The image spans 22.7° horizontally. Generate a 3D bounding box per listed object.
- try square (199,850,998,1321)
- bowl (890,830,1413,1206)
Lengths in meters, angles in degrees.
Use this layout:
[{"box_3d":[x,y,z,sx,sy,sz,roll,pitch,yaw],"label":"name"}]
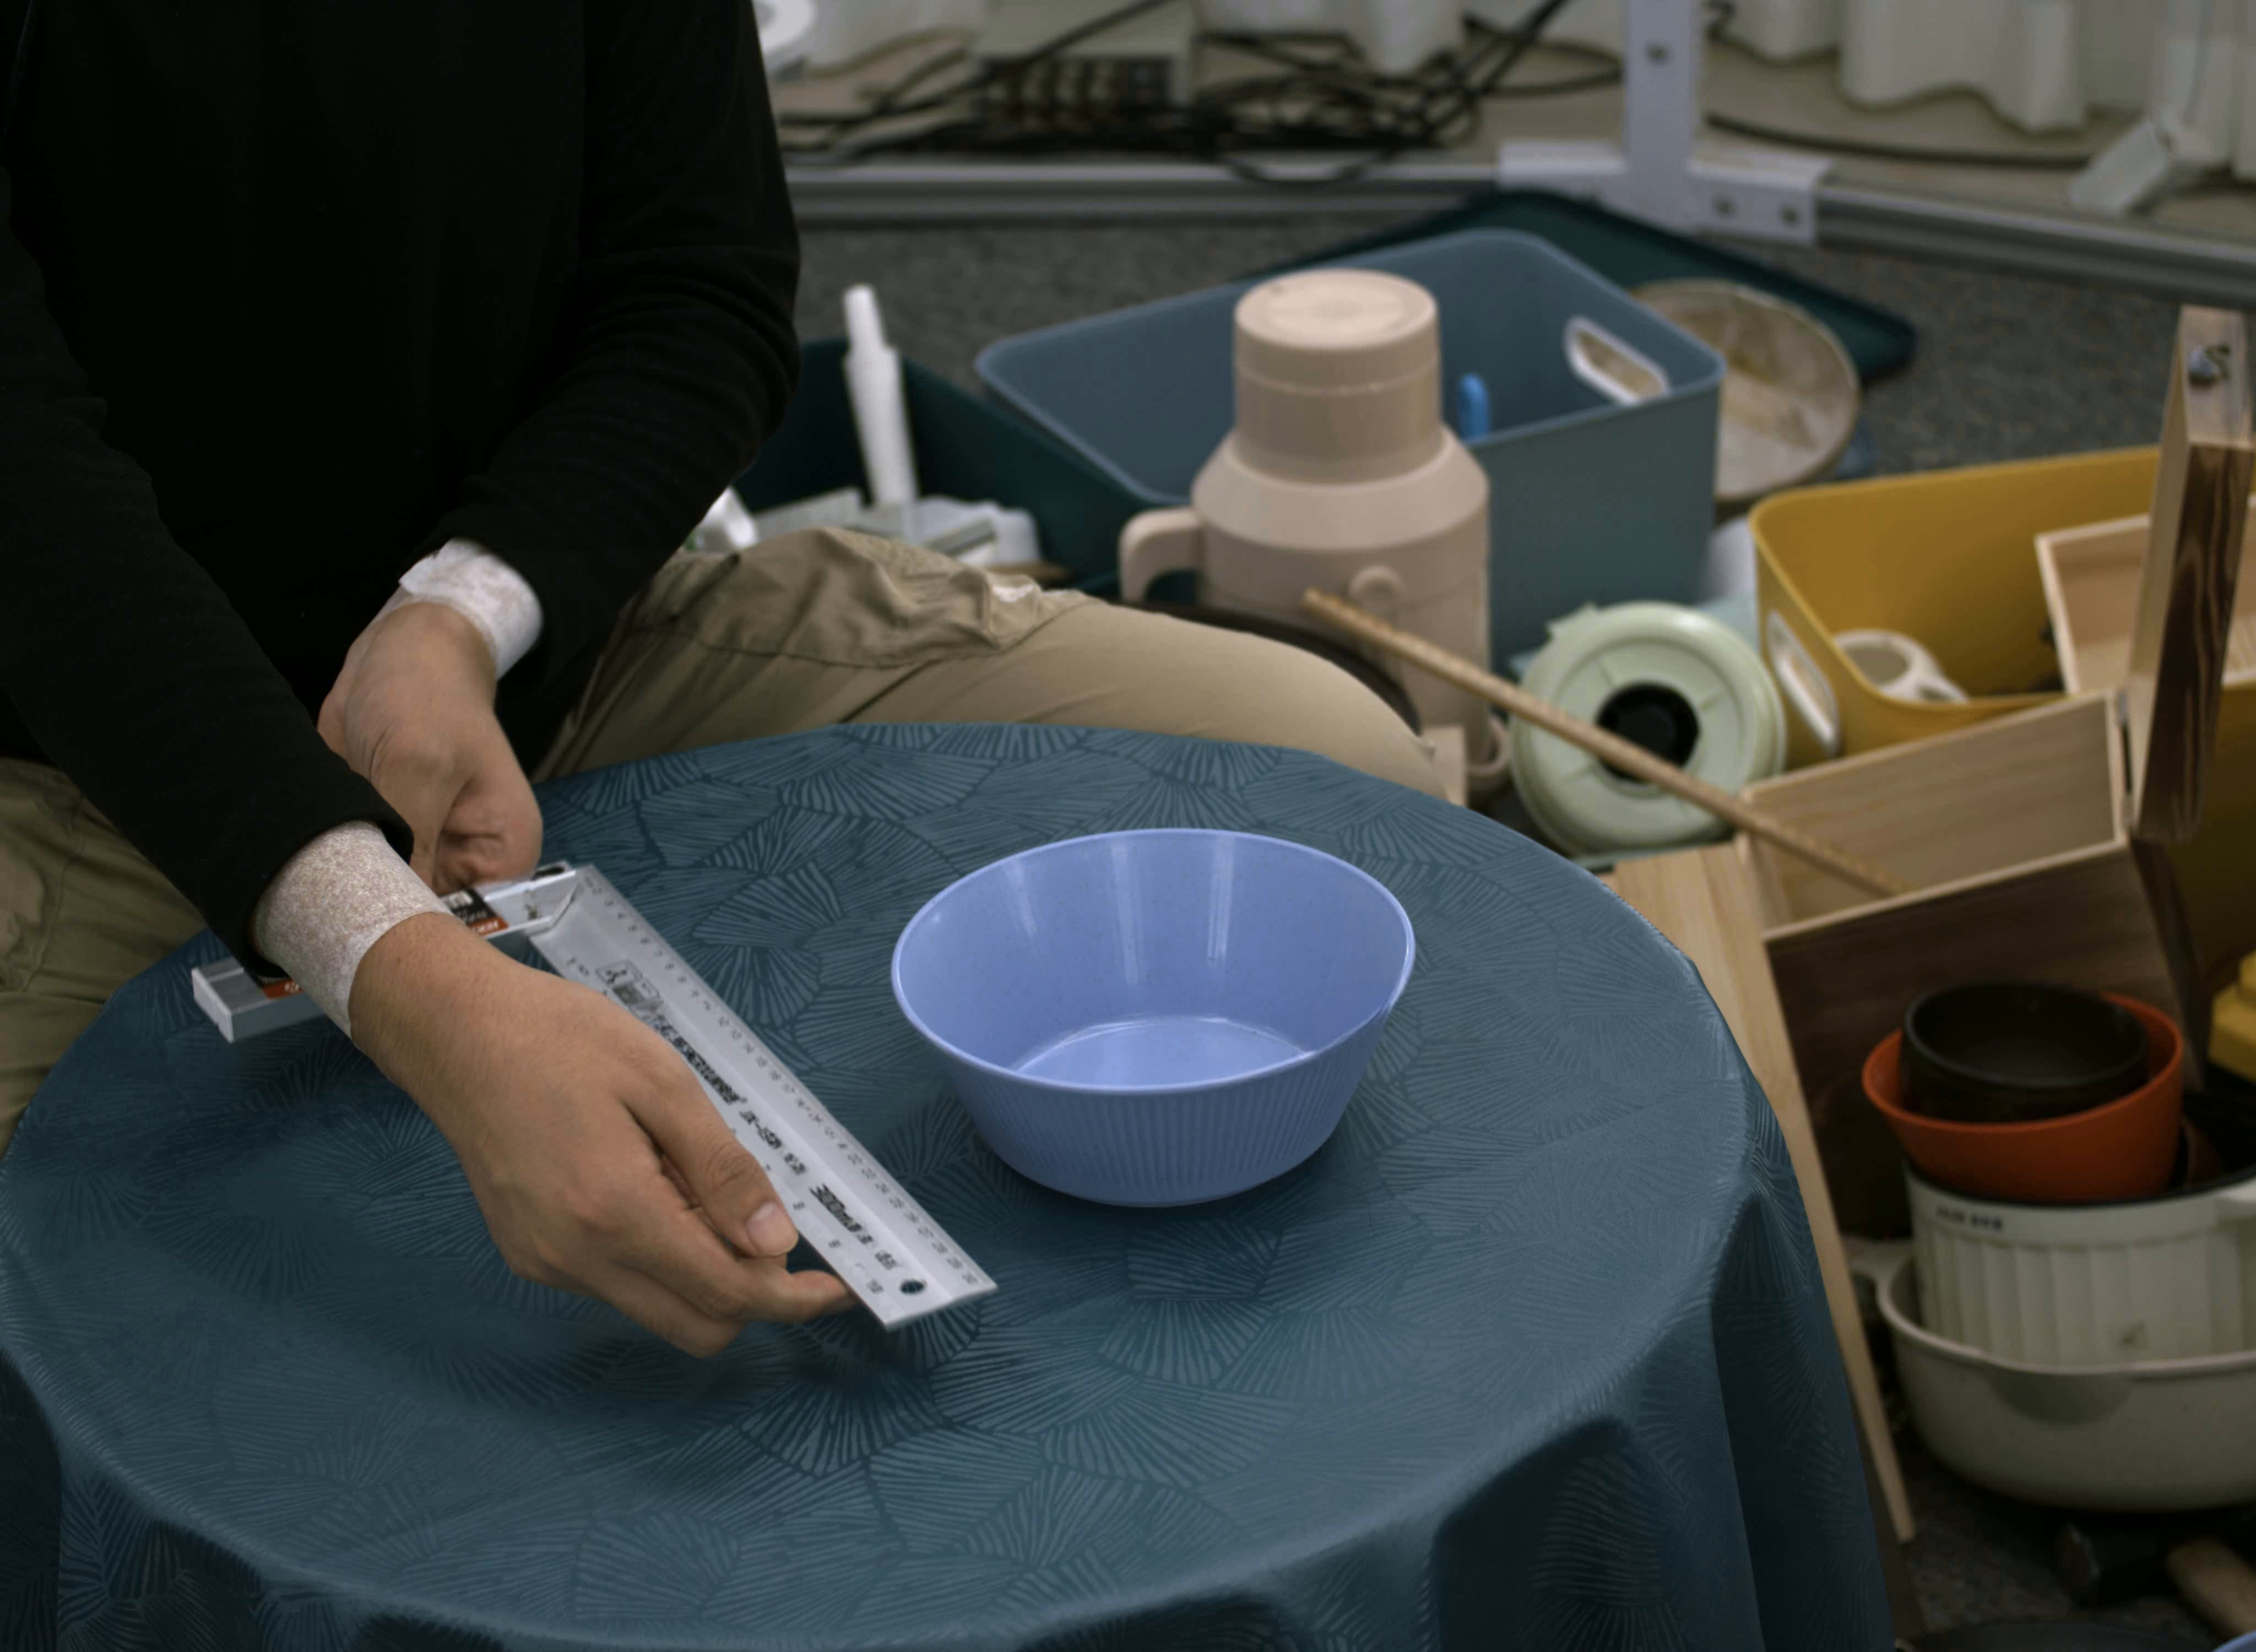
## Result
[{"box_3d":[-0.180,0.099,1.841,0.153,0.015,0.315,-20,34,-22],"label":"try square"},{"box_3d":[0.009,0.070,1.885,0.175,0.069,0.179,-2,28,2],"label":"bowl"}]
